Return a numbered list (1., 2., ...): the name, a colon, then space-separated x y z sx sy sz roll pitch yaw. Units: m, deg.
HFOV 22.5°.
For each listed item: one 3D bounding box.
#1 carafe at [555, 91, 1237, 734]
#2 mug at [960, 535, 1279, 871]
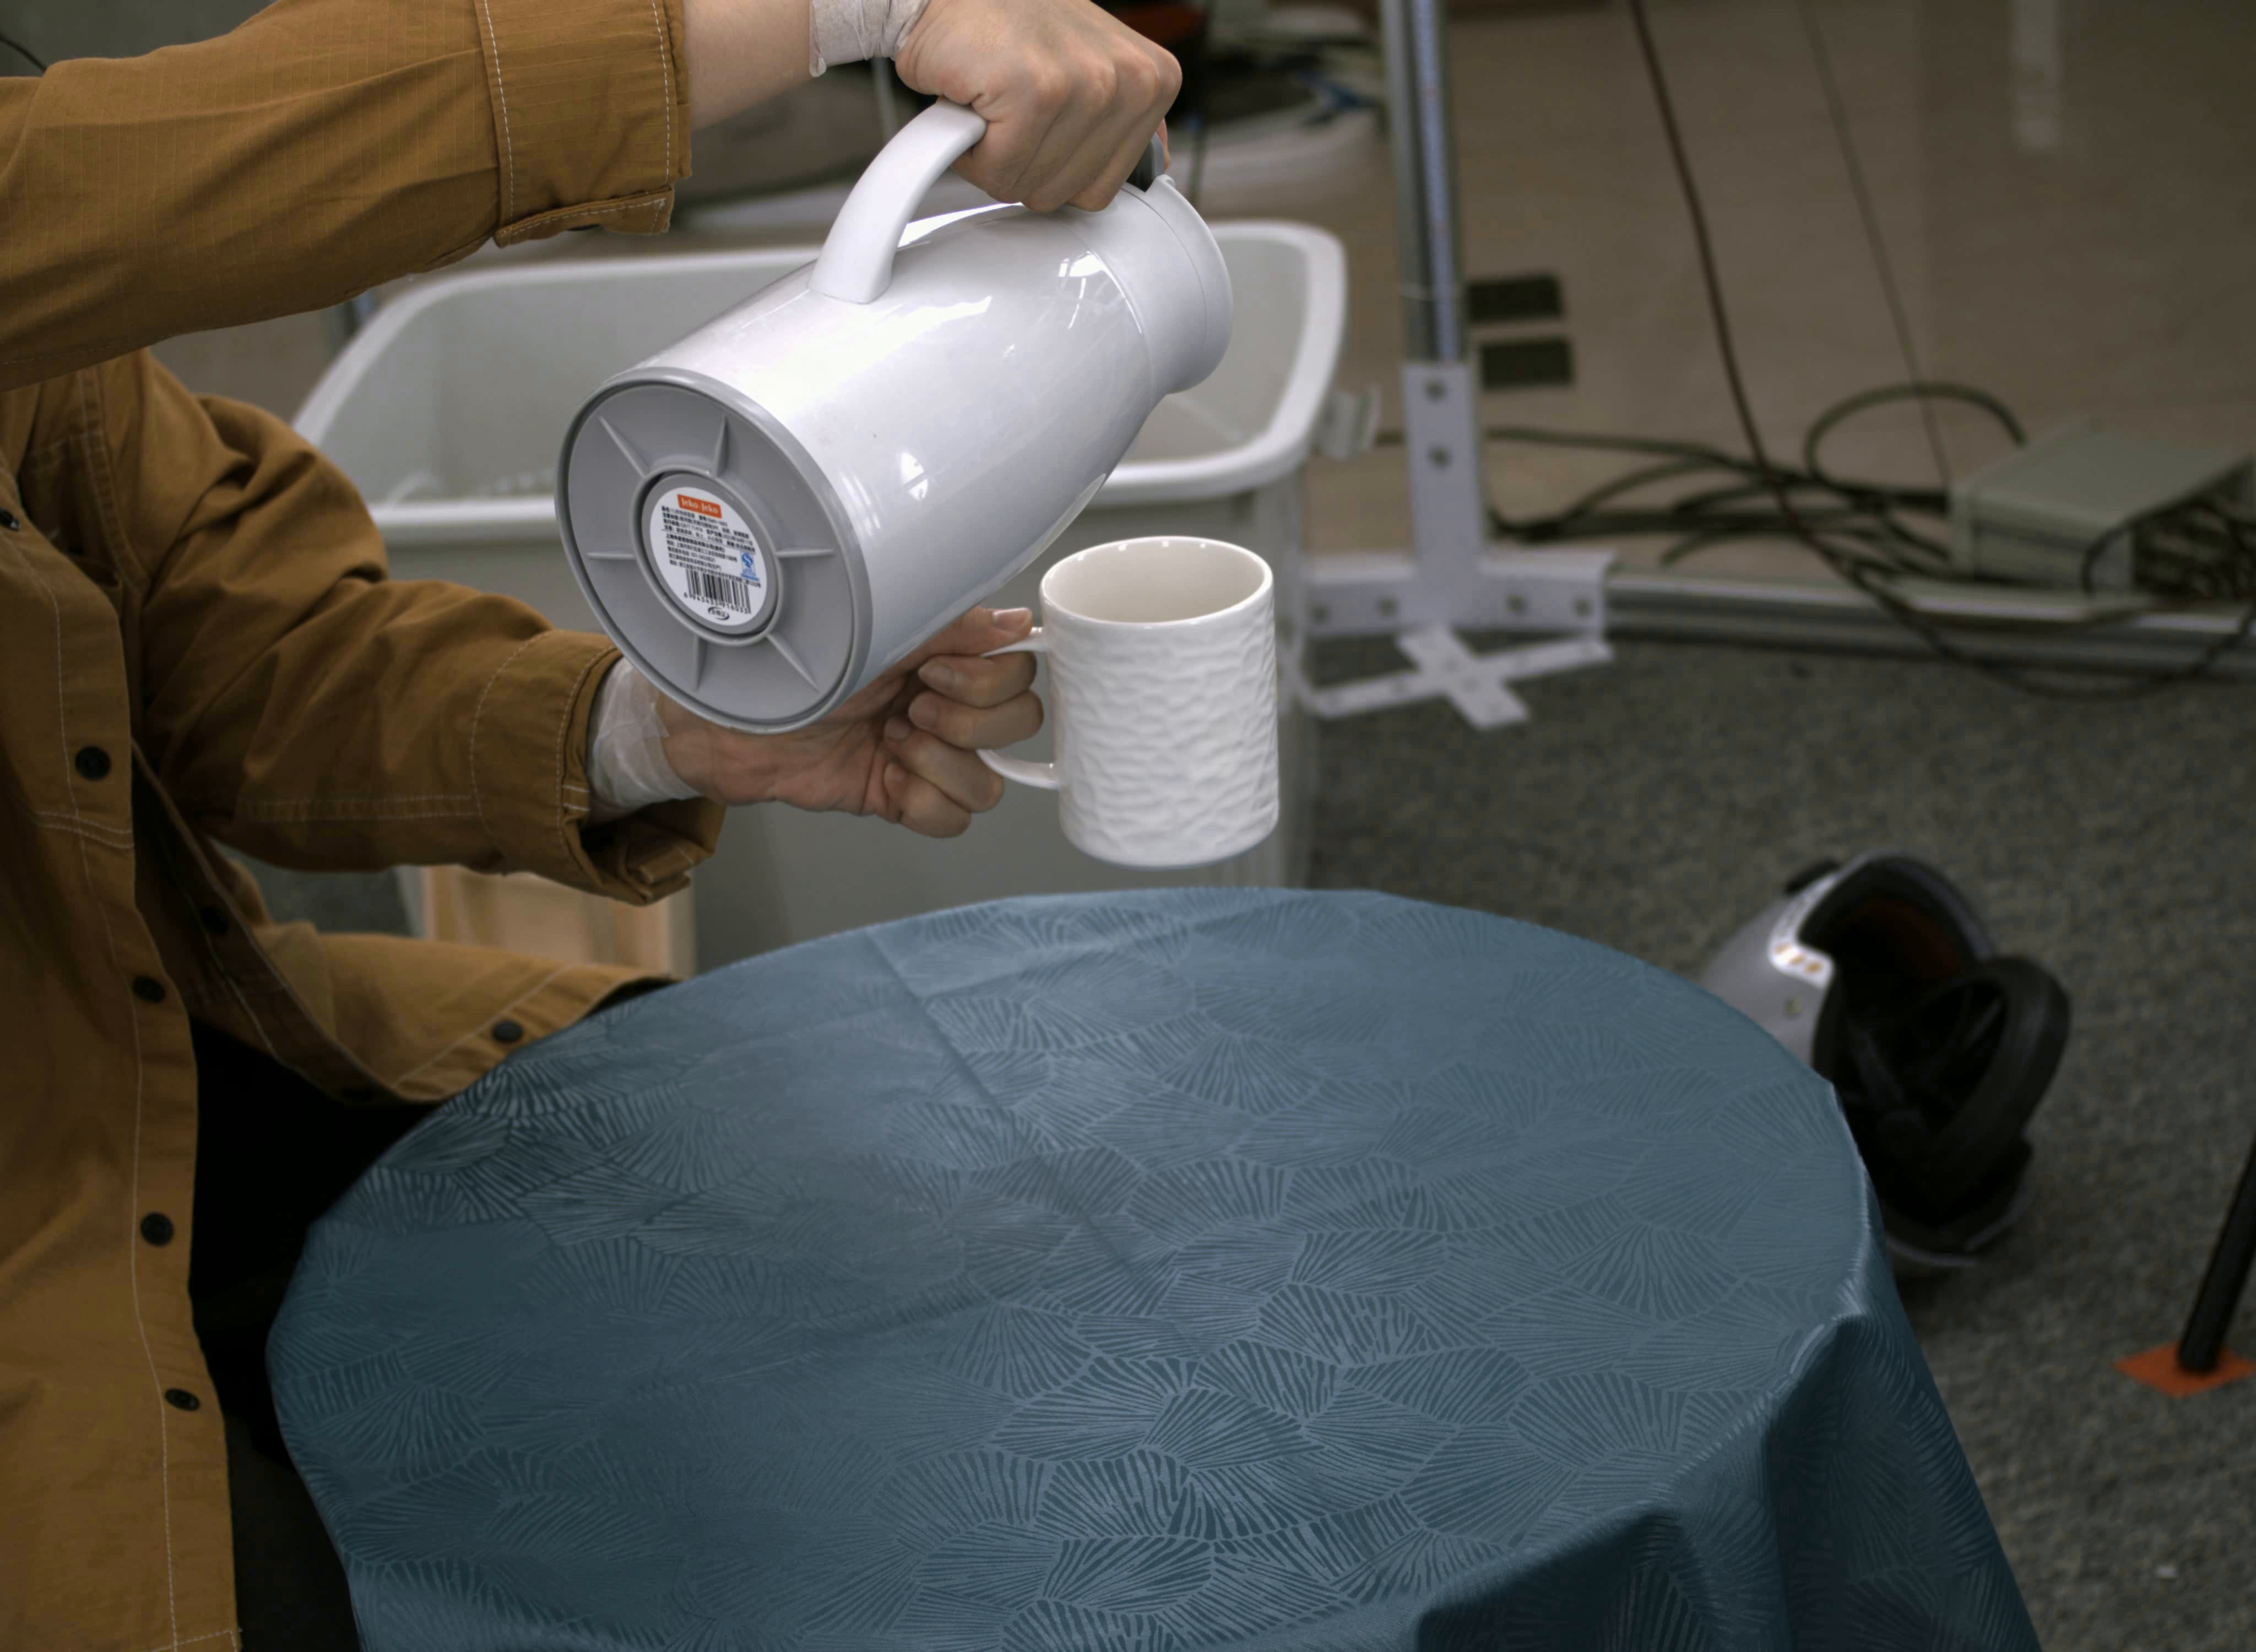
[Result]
1. carafe: -0.066 -0.159 1.938 0.131 0.171 0.246 23 41 30
2. mug: -0.003 -0.044 2.100 0.118 0.103 0.083 -6 26 -5
